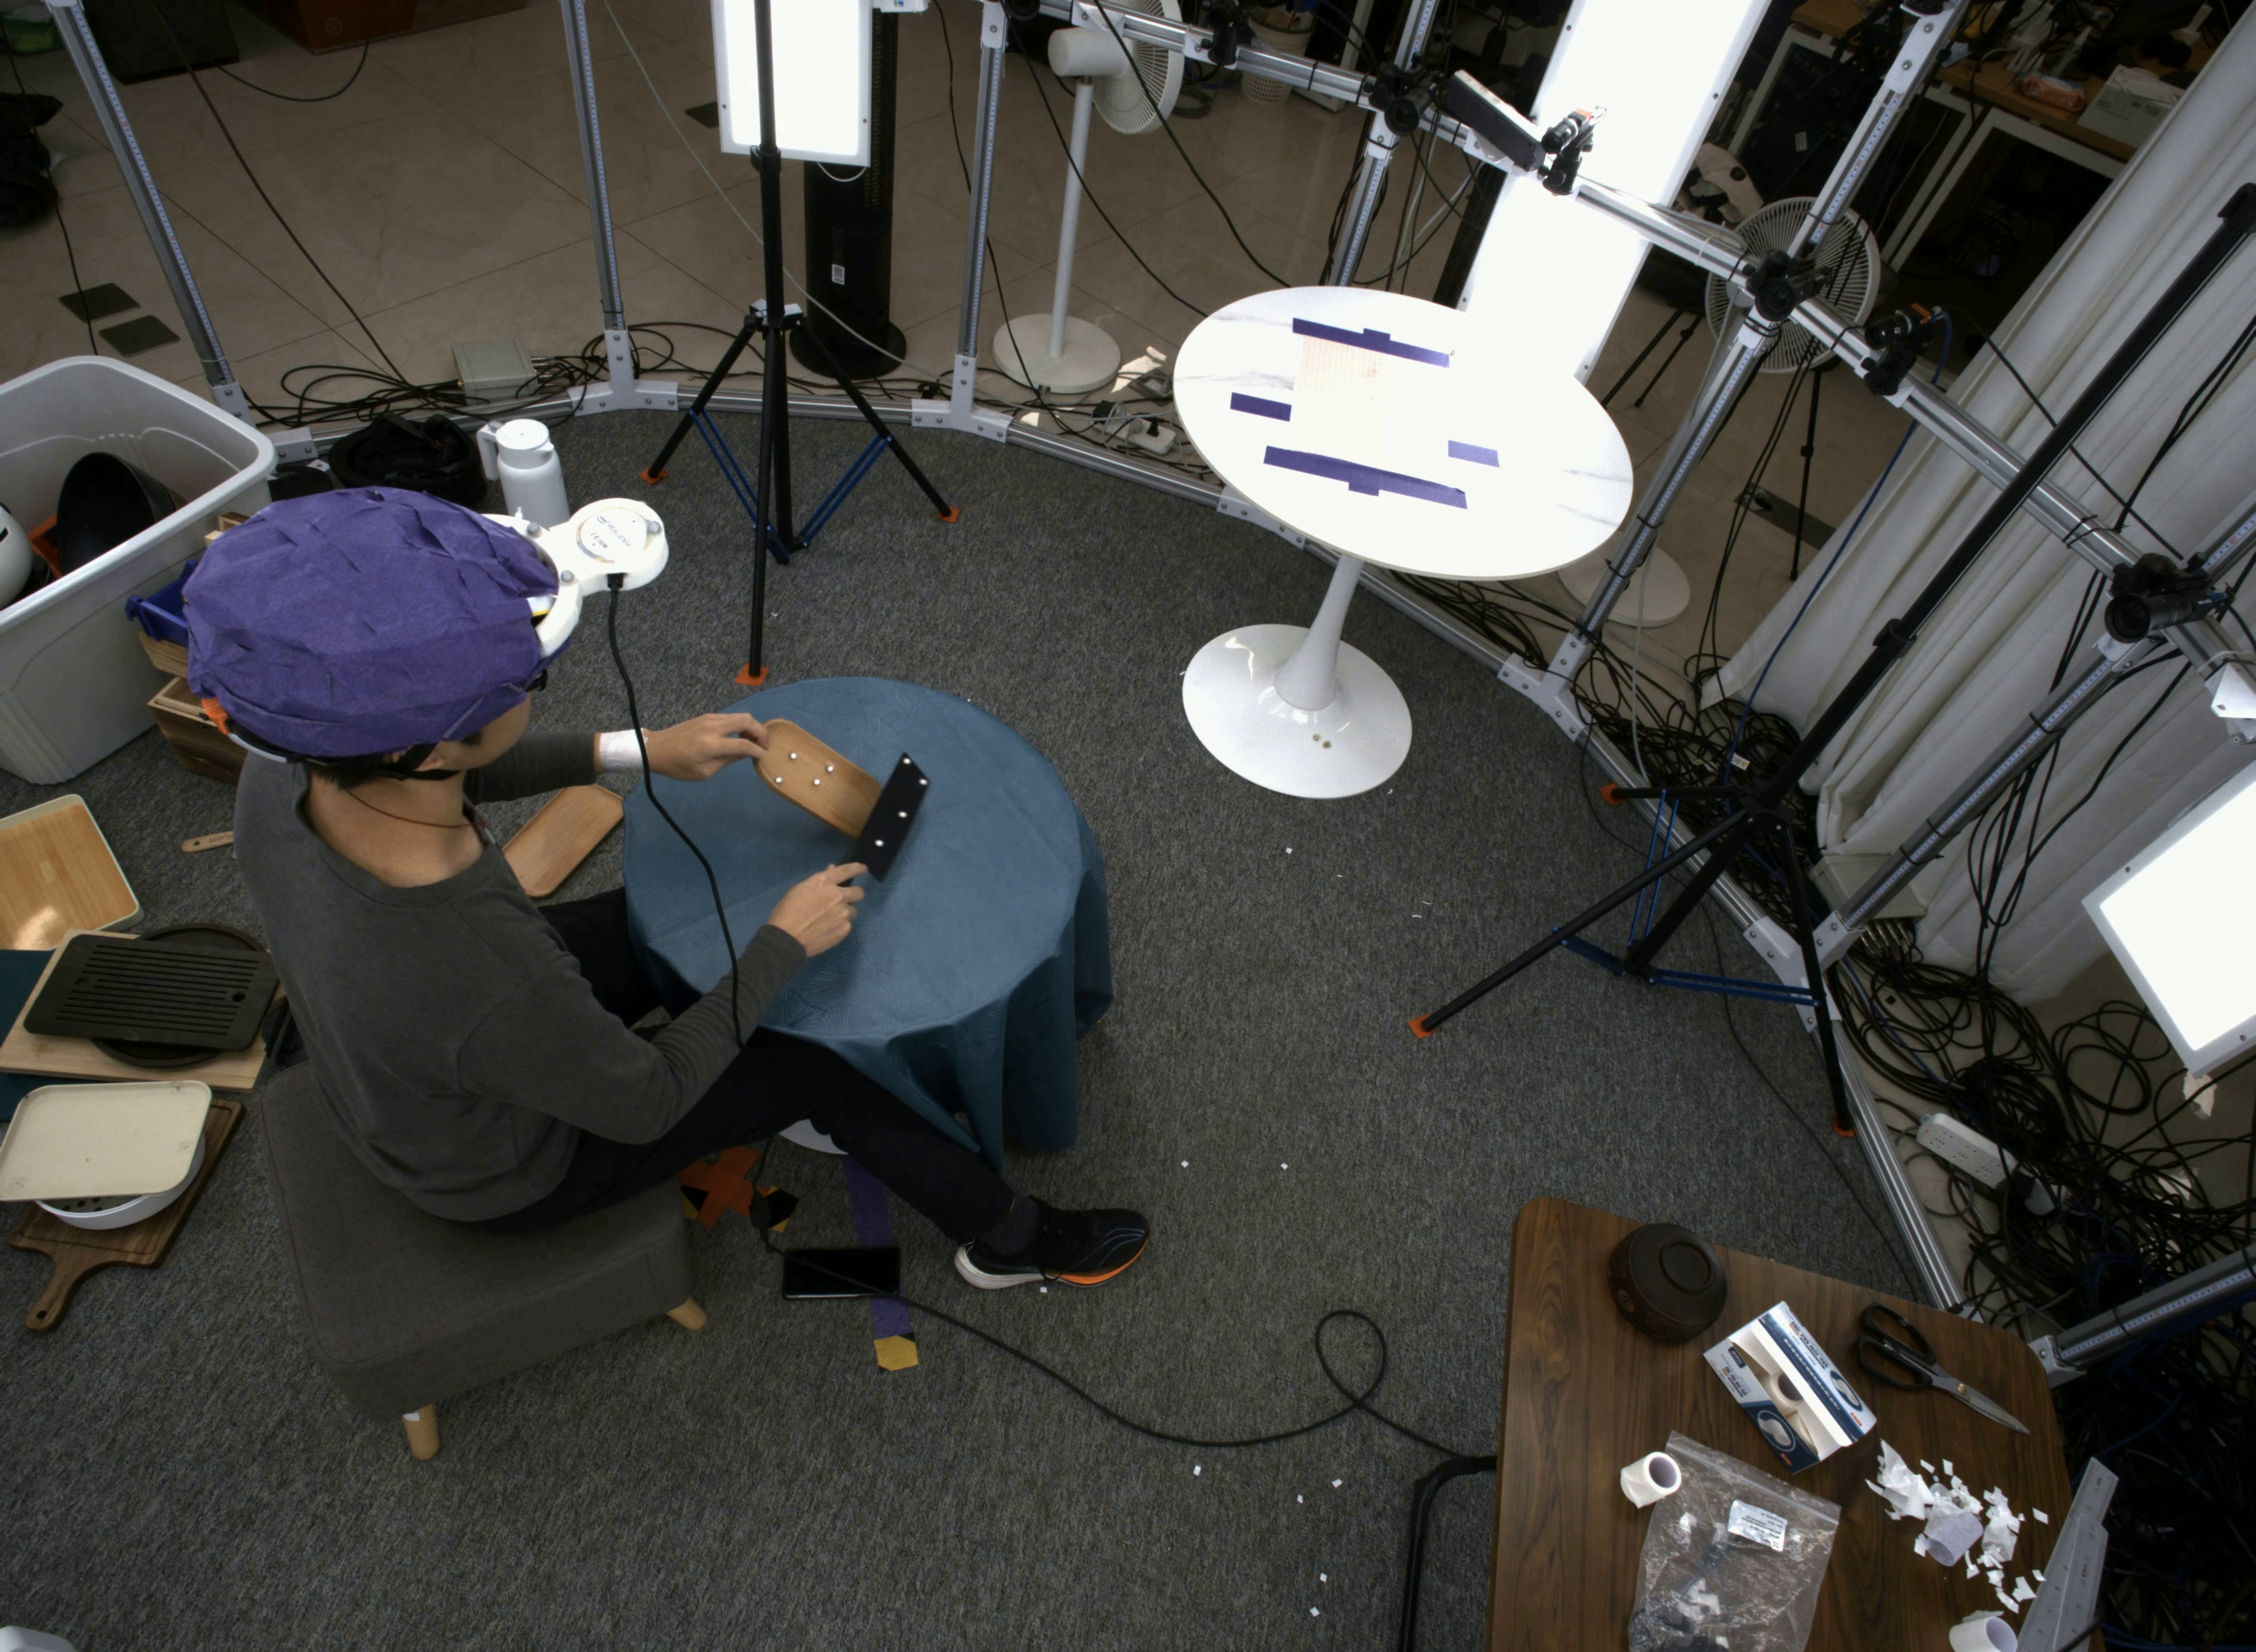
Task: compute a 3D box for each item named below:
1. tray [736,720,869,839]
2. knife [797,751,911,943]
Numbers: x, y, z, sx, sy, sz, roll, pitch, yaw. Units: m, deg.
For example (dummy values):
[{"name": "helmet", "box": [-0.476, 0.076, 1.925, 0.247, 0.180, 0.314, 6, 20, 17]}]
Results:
[{"name": "tray", "box": [-0.411, -0.055, 1.671, 0.020, 0.239, 0.100, -13, 59, 31]}, {"name": "knife", "box": [-0.346, 0.027, 1.656, 0.020, 0.084, 0.299, -9, 40, 31]}]
